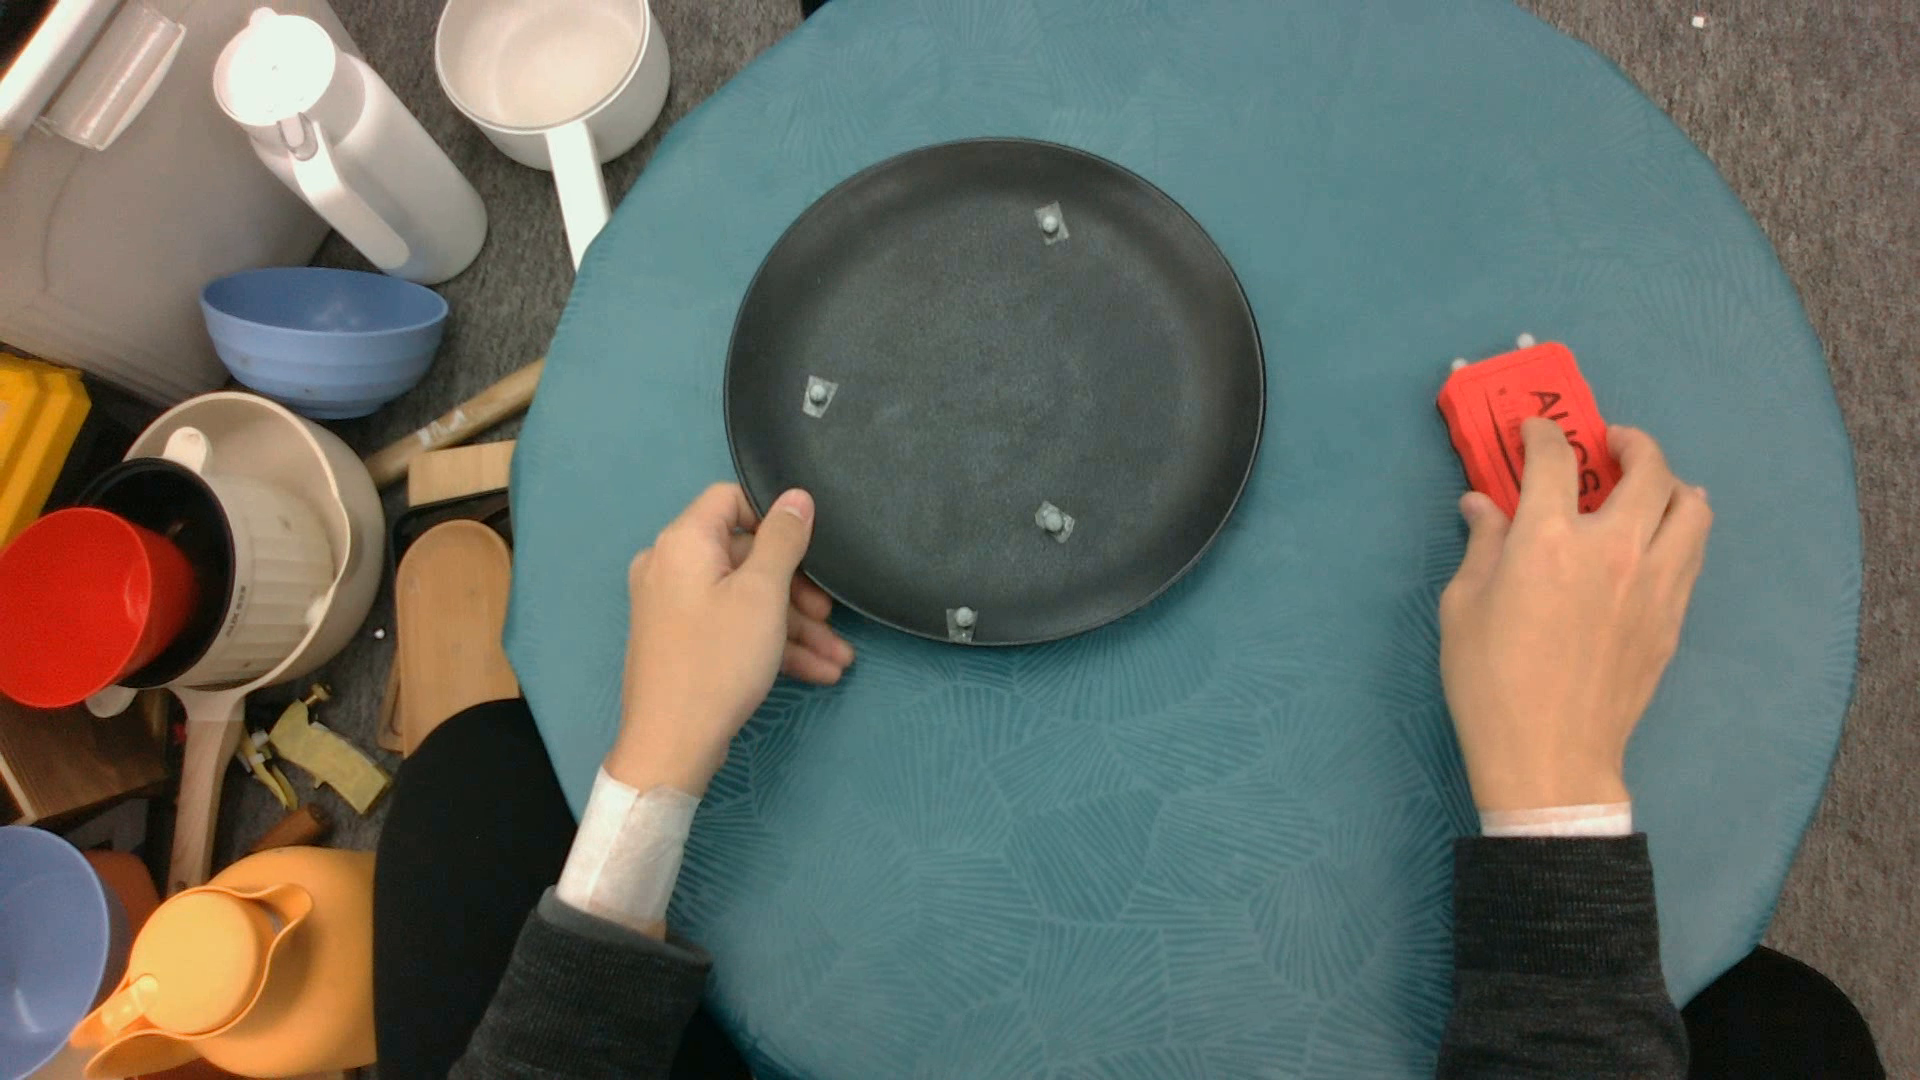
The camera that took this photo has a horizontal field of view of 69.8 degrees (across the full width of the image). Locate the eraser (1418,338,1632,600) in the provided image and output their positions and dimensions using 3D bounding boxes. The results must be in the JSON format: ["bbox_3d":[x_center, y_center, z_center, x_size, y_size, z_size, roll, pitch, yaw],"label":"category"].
[{"bbox_3d":[0.246,-0.032,0.603,0.059,0.023,0.108,-16,74,1],"label":"eraser"}]

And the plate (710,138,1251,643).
[{"bbox_3d":[0.009,-0.071,0.629,0.244,0.023,0.245,-1,74,2],"label":"plate"}]
